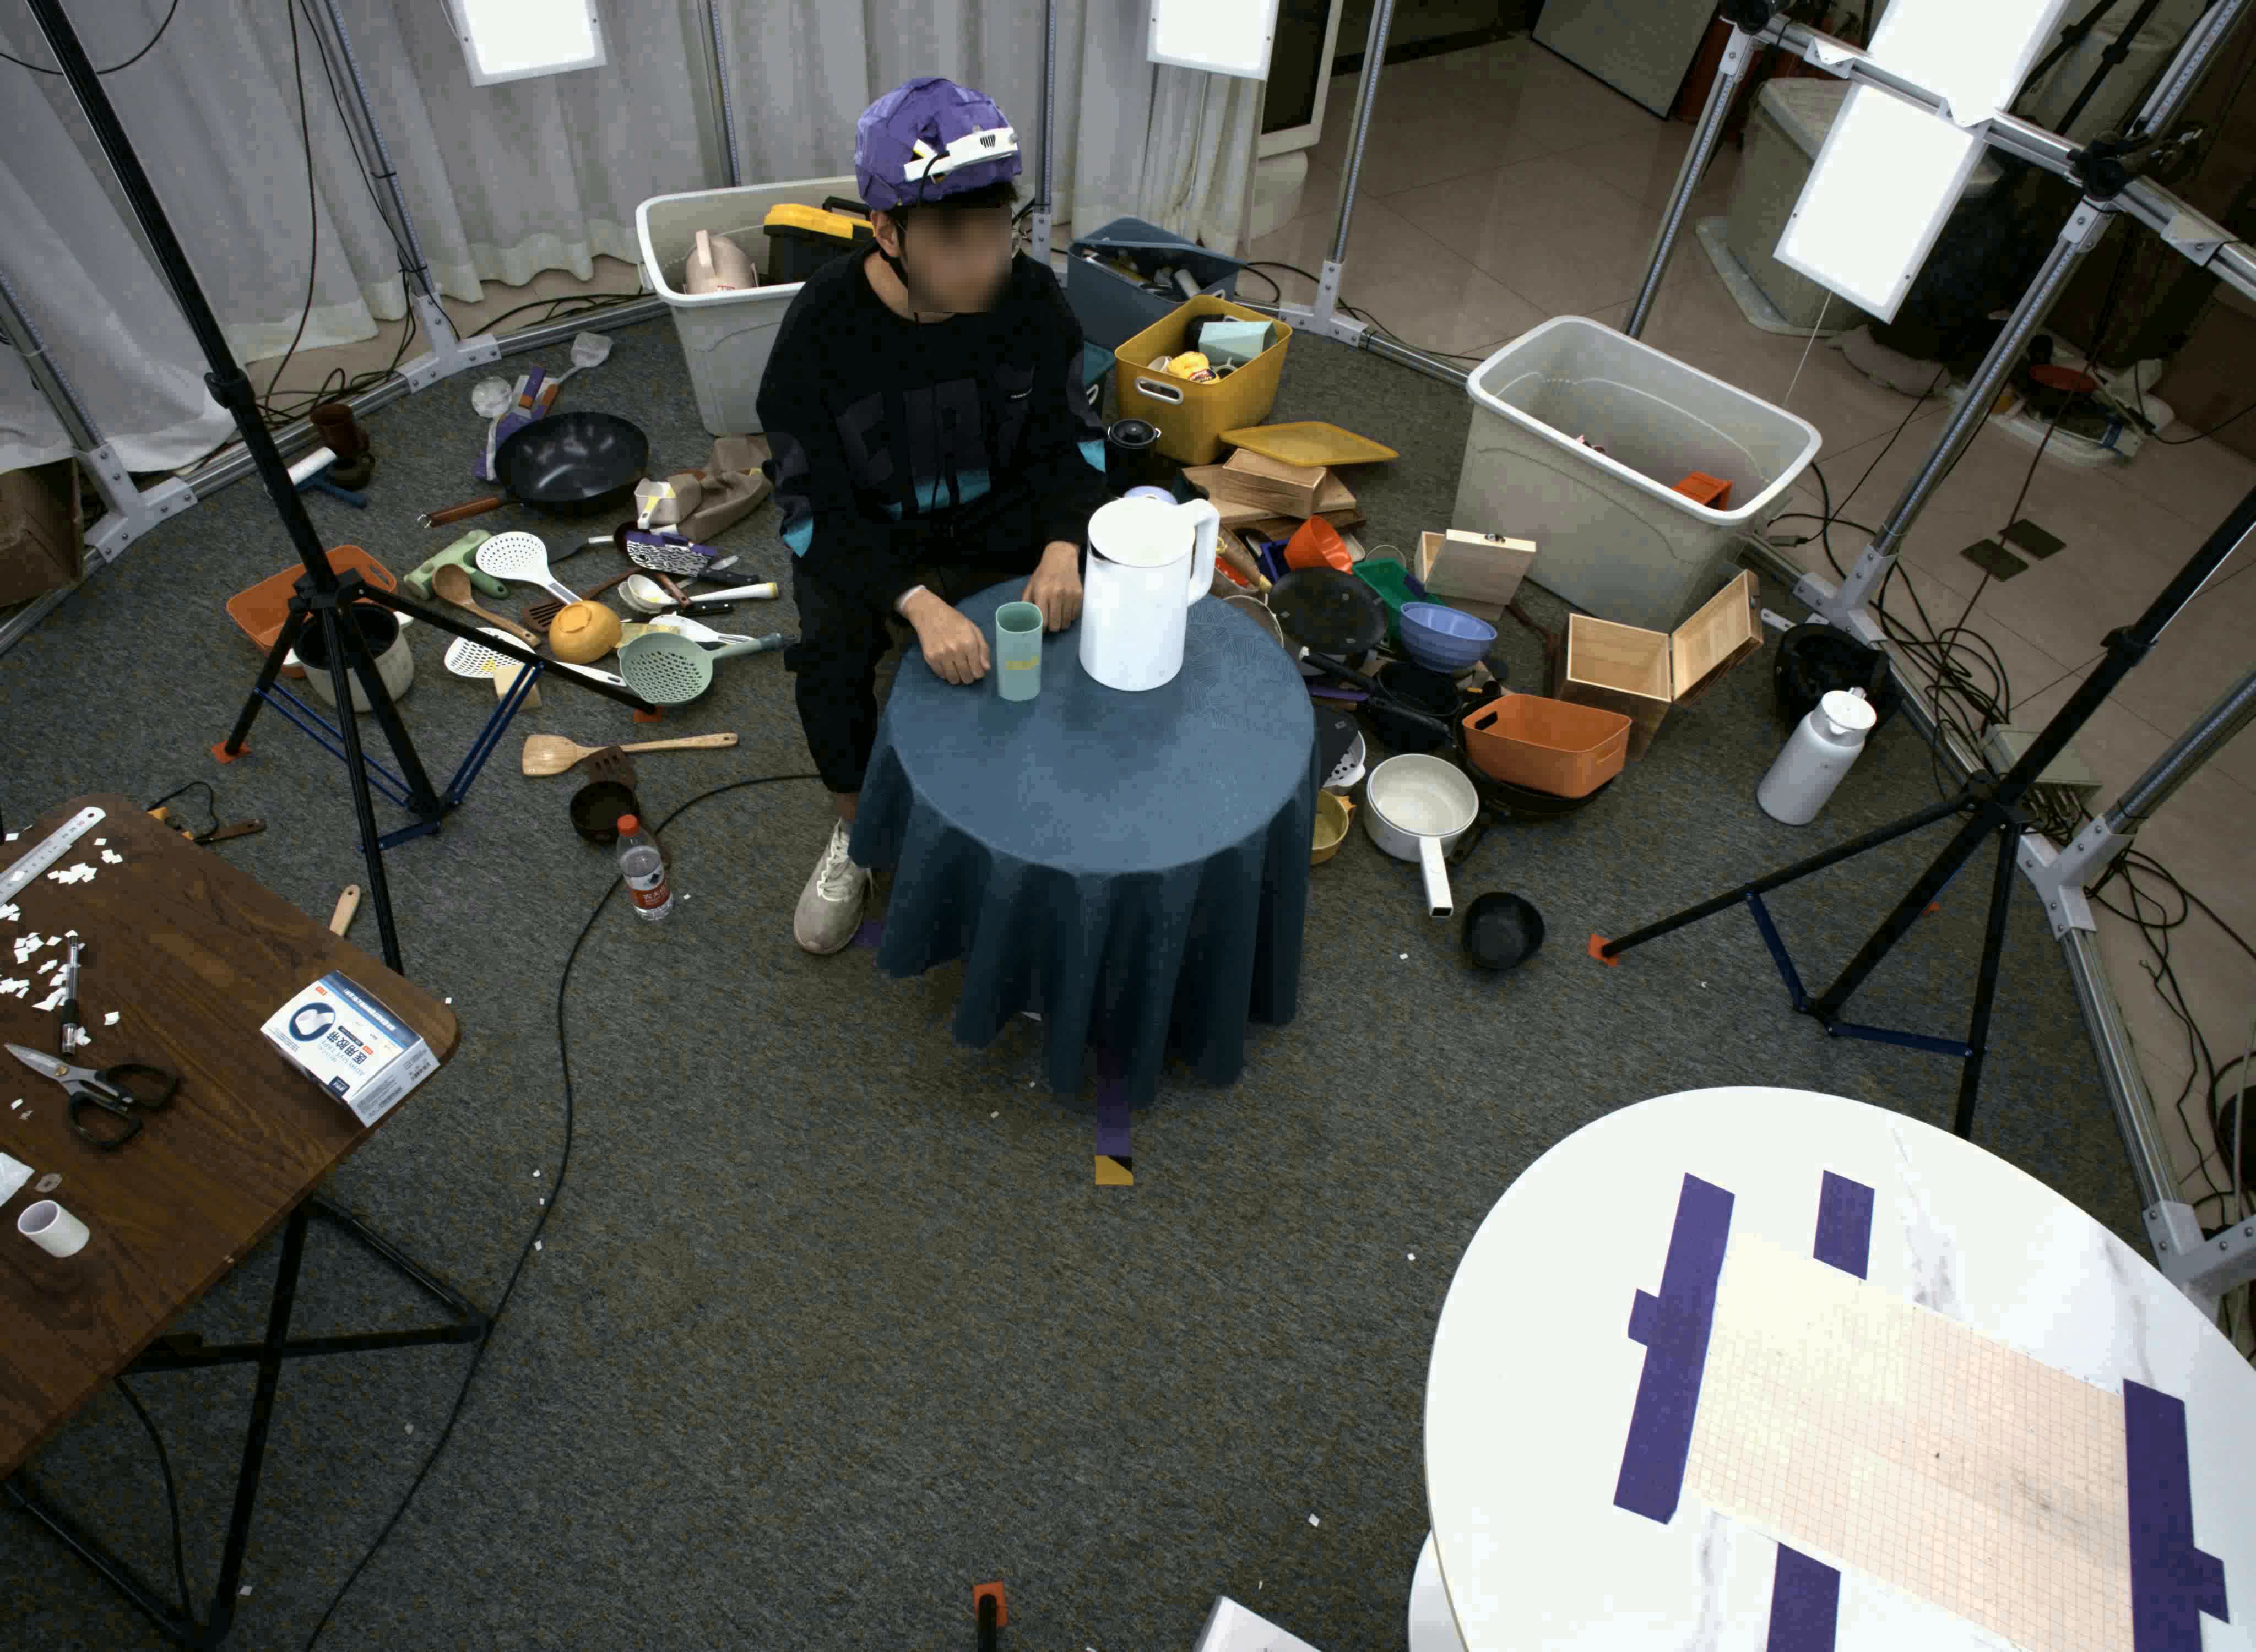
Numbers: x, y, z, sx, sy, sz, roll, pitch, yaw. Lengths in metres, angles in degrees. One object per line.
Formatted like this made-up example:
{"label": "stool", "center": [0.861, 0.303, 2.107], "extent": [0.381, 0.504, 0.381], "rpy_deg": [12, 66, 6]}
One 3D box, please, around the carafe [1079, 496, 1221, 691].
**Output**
{"label": "carafe", "center": [0.033, -0.334, 1.810], "extent": [0.214, 0.234, 0.155], "rpy_deg": [-28, 58, -24]}

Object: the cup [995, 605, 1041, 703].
{"label": "cup", "center": [-0.151, -0.239, 1.785], "extent": [0.066, 0.129, 0.068], "rpy_deg": [2, 51, -2]}
